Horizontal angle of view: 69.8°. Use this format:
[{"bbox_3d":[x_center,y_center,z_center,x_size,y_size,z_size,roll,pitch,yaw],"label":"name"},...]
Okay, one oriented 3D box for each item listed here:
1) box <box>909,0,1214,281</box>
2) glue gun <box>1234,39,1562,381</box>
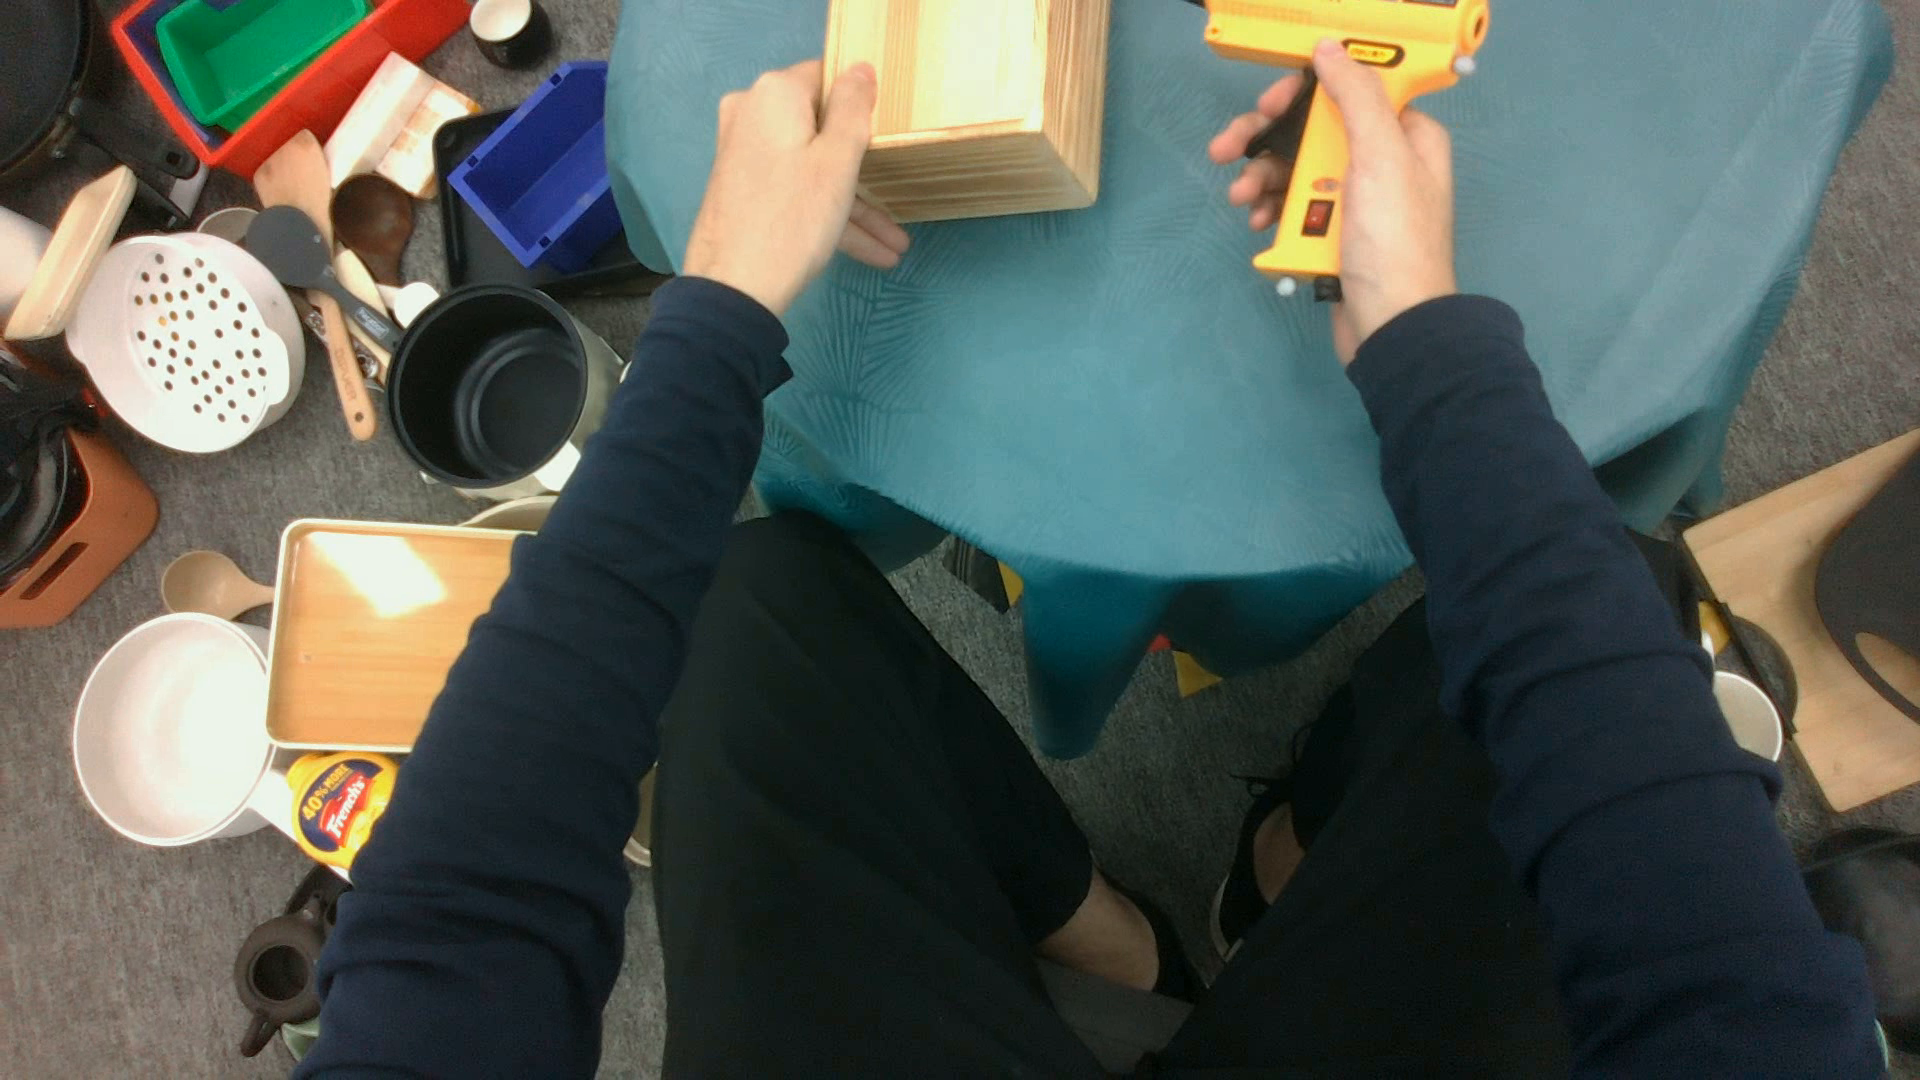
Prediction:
[{"bbox_3d":[0.056,-0.237,0.658,0.107,0.080,0.212,4,78,25],"label":"box"},{"bbox_3d":[0.163,-0.155,0.600,0.151,0.031,0.133,32,101,36],"label":"glue gun"}]
